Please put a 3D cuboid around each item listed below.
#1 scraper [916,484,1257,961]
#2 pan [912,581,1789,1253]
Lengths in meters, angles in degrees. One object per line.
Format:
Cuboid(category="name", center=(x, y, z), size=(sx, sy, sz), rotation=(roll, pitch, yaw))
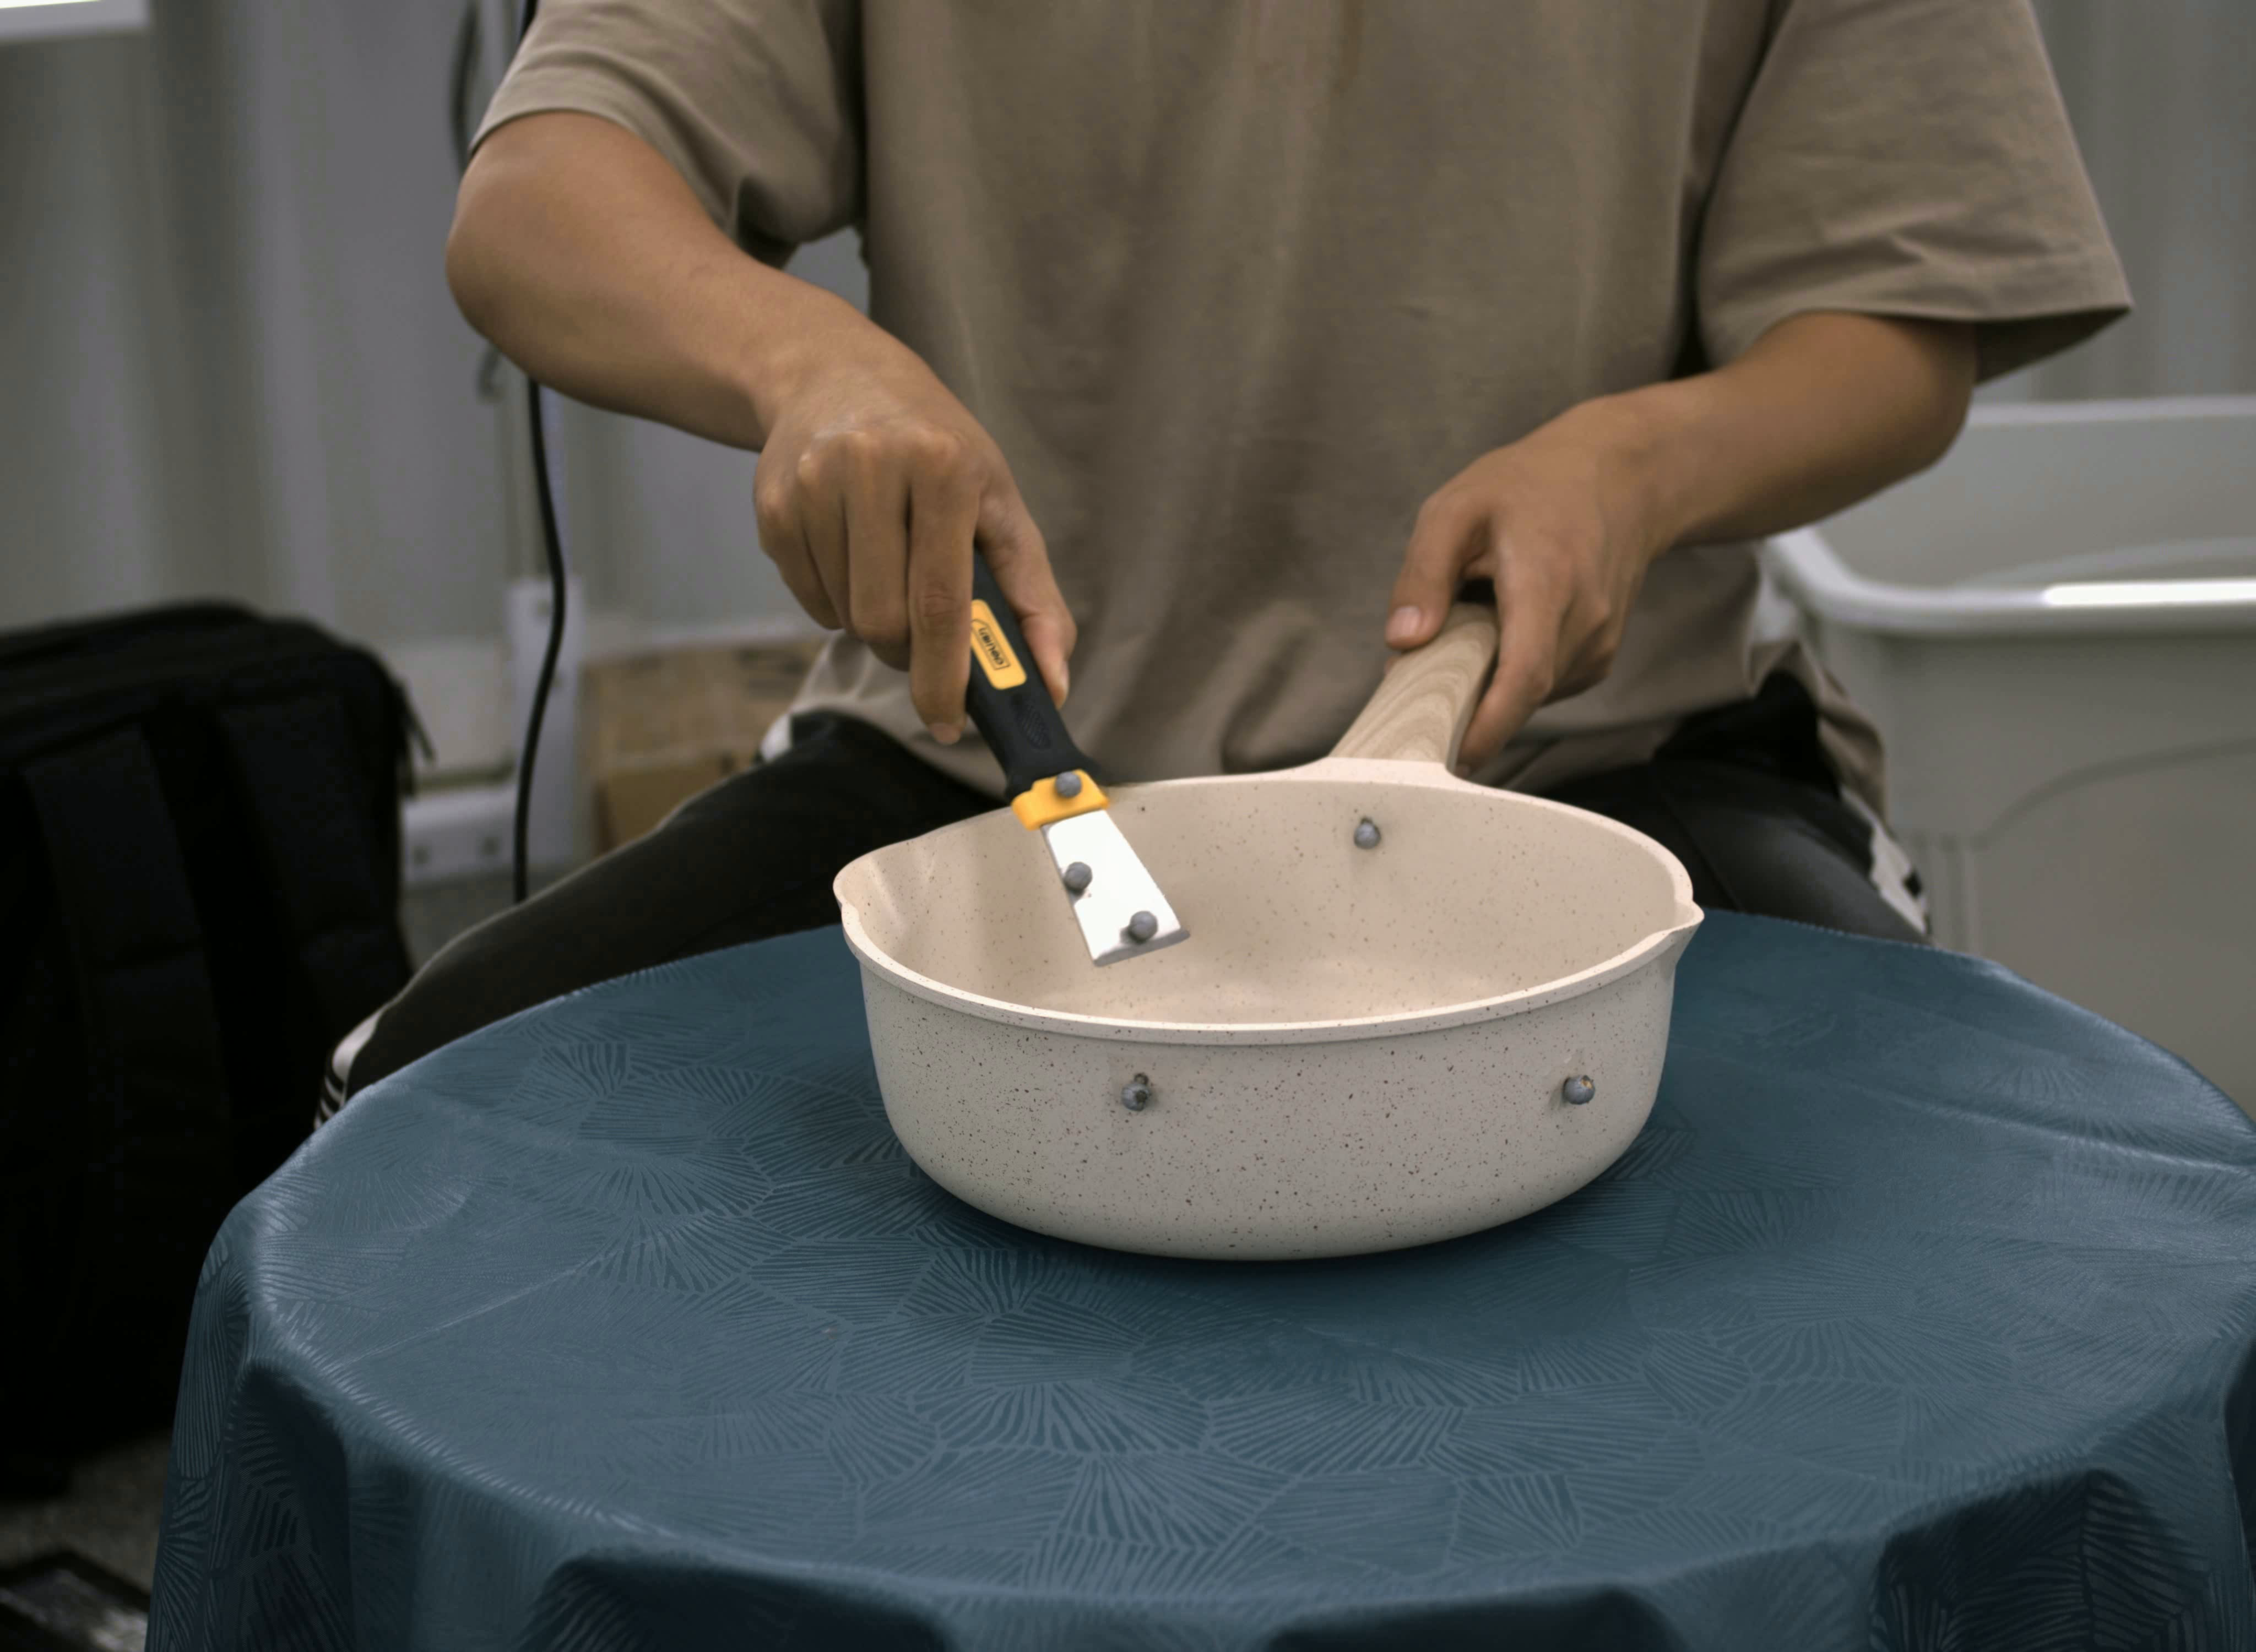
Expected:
Cuboid(category="scraper", center=(-0.017, -0.033, 1.610), size=(0.038, 0.015, 0.173), rotation=(-21, 66, -21))
Cuboid(category="pan", center=(0.091, 0.024, 1.652), size=(0.266, 0.102, 0.431), rotation=(0, 16, 18))
